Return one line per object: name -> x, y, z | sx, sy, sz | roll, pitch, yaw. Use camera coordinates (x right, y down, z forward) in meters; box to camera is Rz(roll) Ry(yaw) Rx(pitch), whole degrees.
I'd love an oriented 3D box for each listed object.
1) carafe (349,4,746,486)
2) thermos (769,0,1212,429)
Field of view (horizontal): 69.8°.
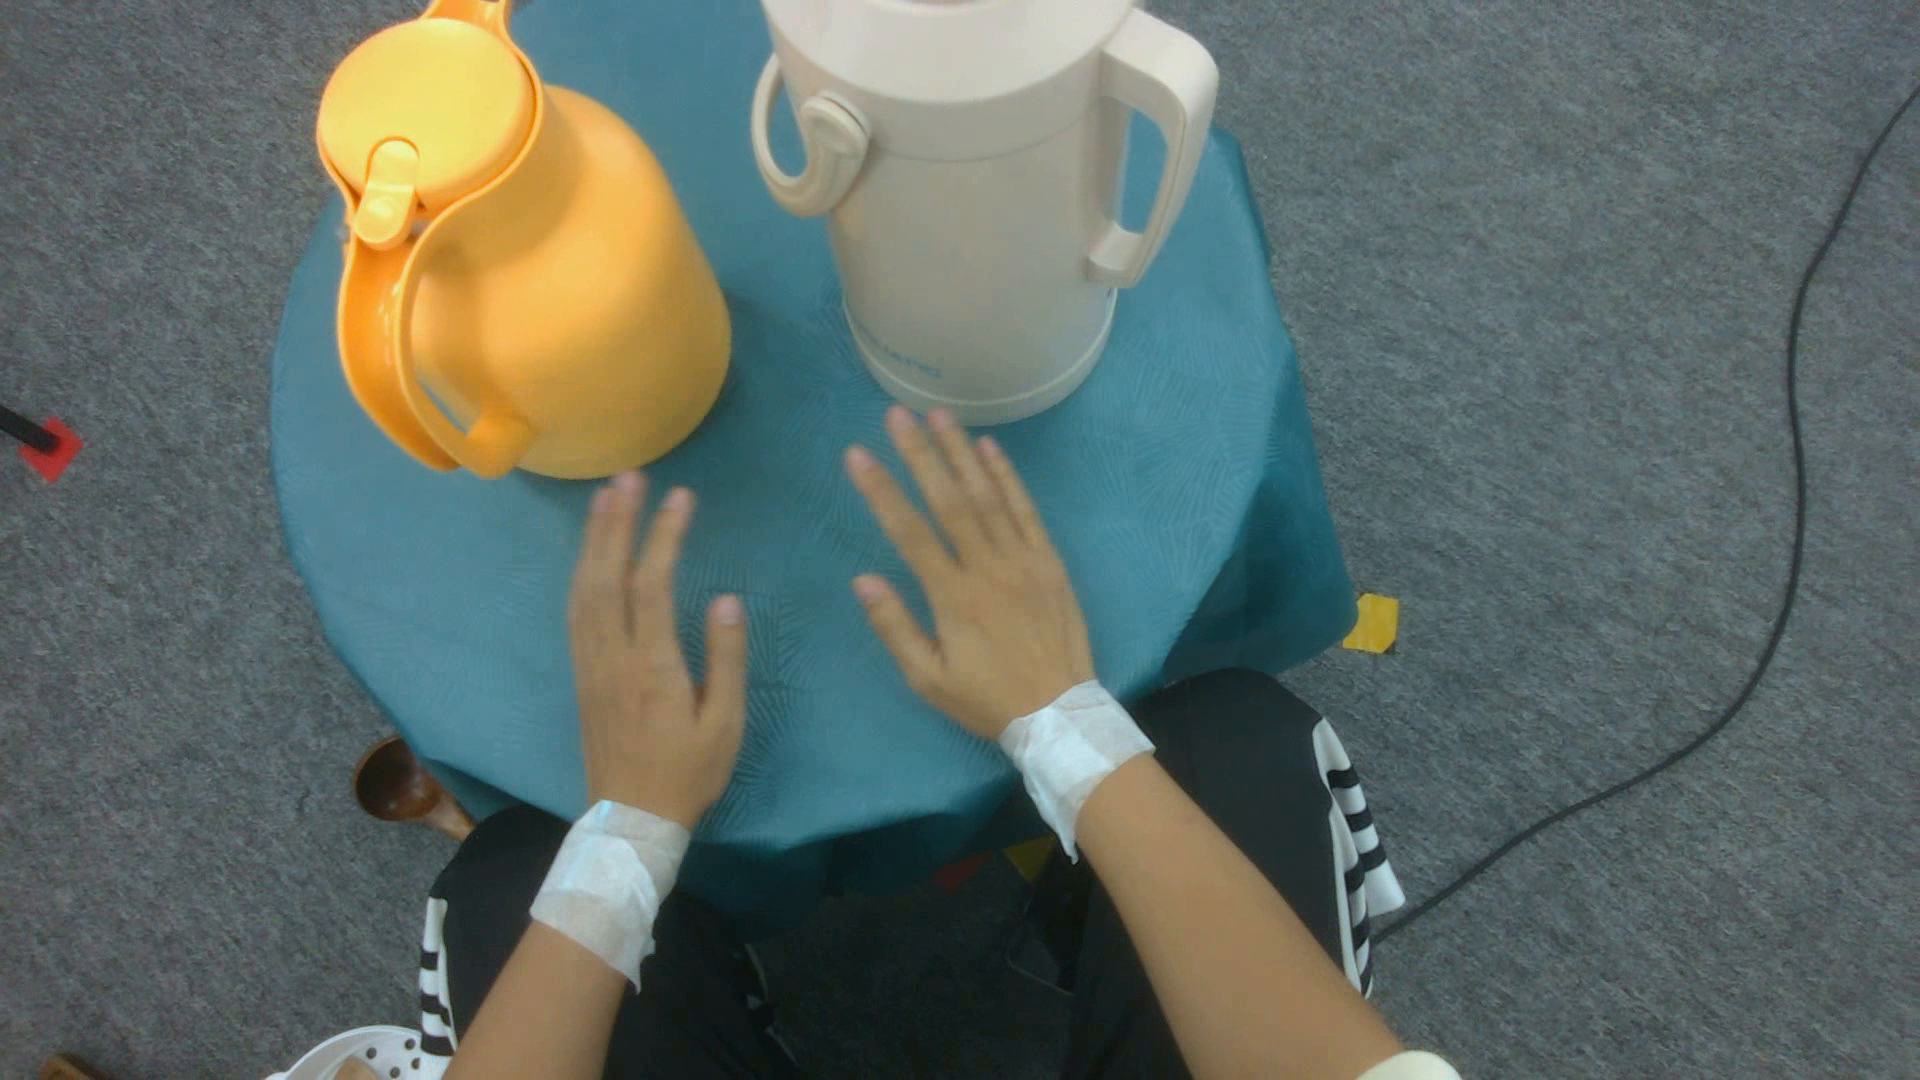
carafe -> -0.218, -0.124, 0.703 | 0.163, 0.259, 0.203 | 10, 70, 10
thermos -> 0.016, -0.194, 0.643 | 0.207, 0.405, 0.176 | 32, 75, 14
